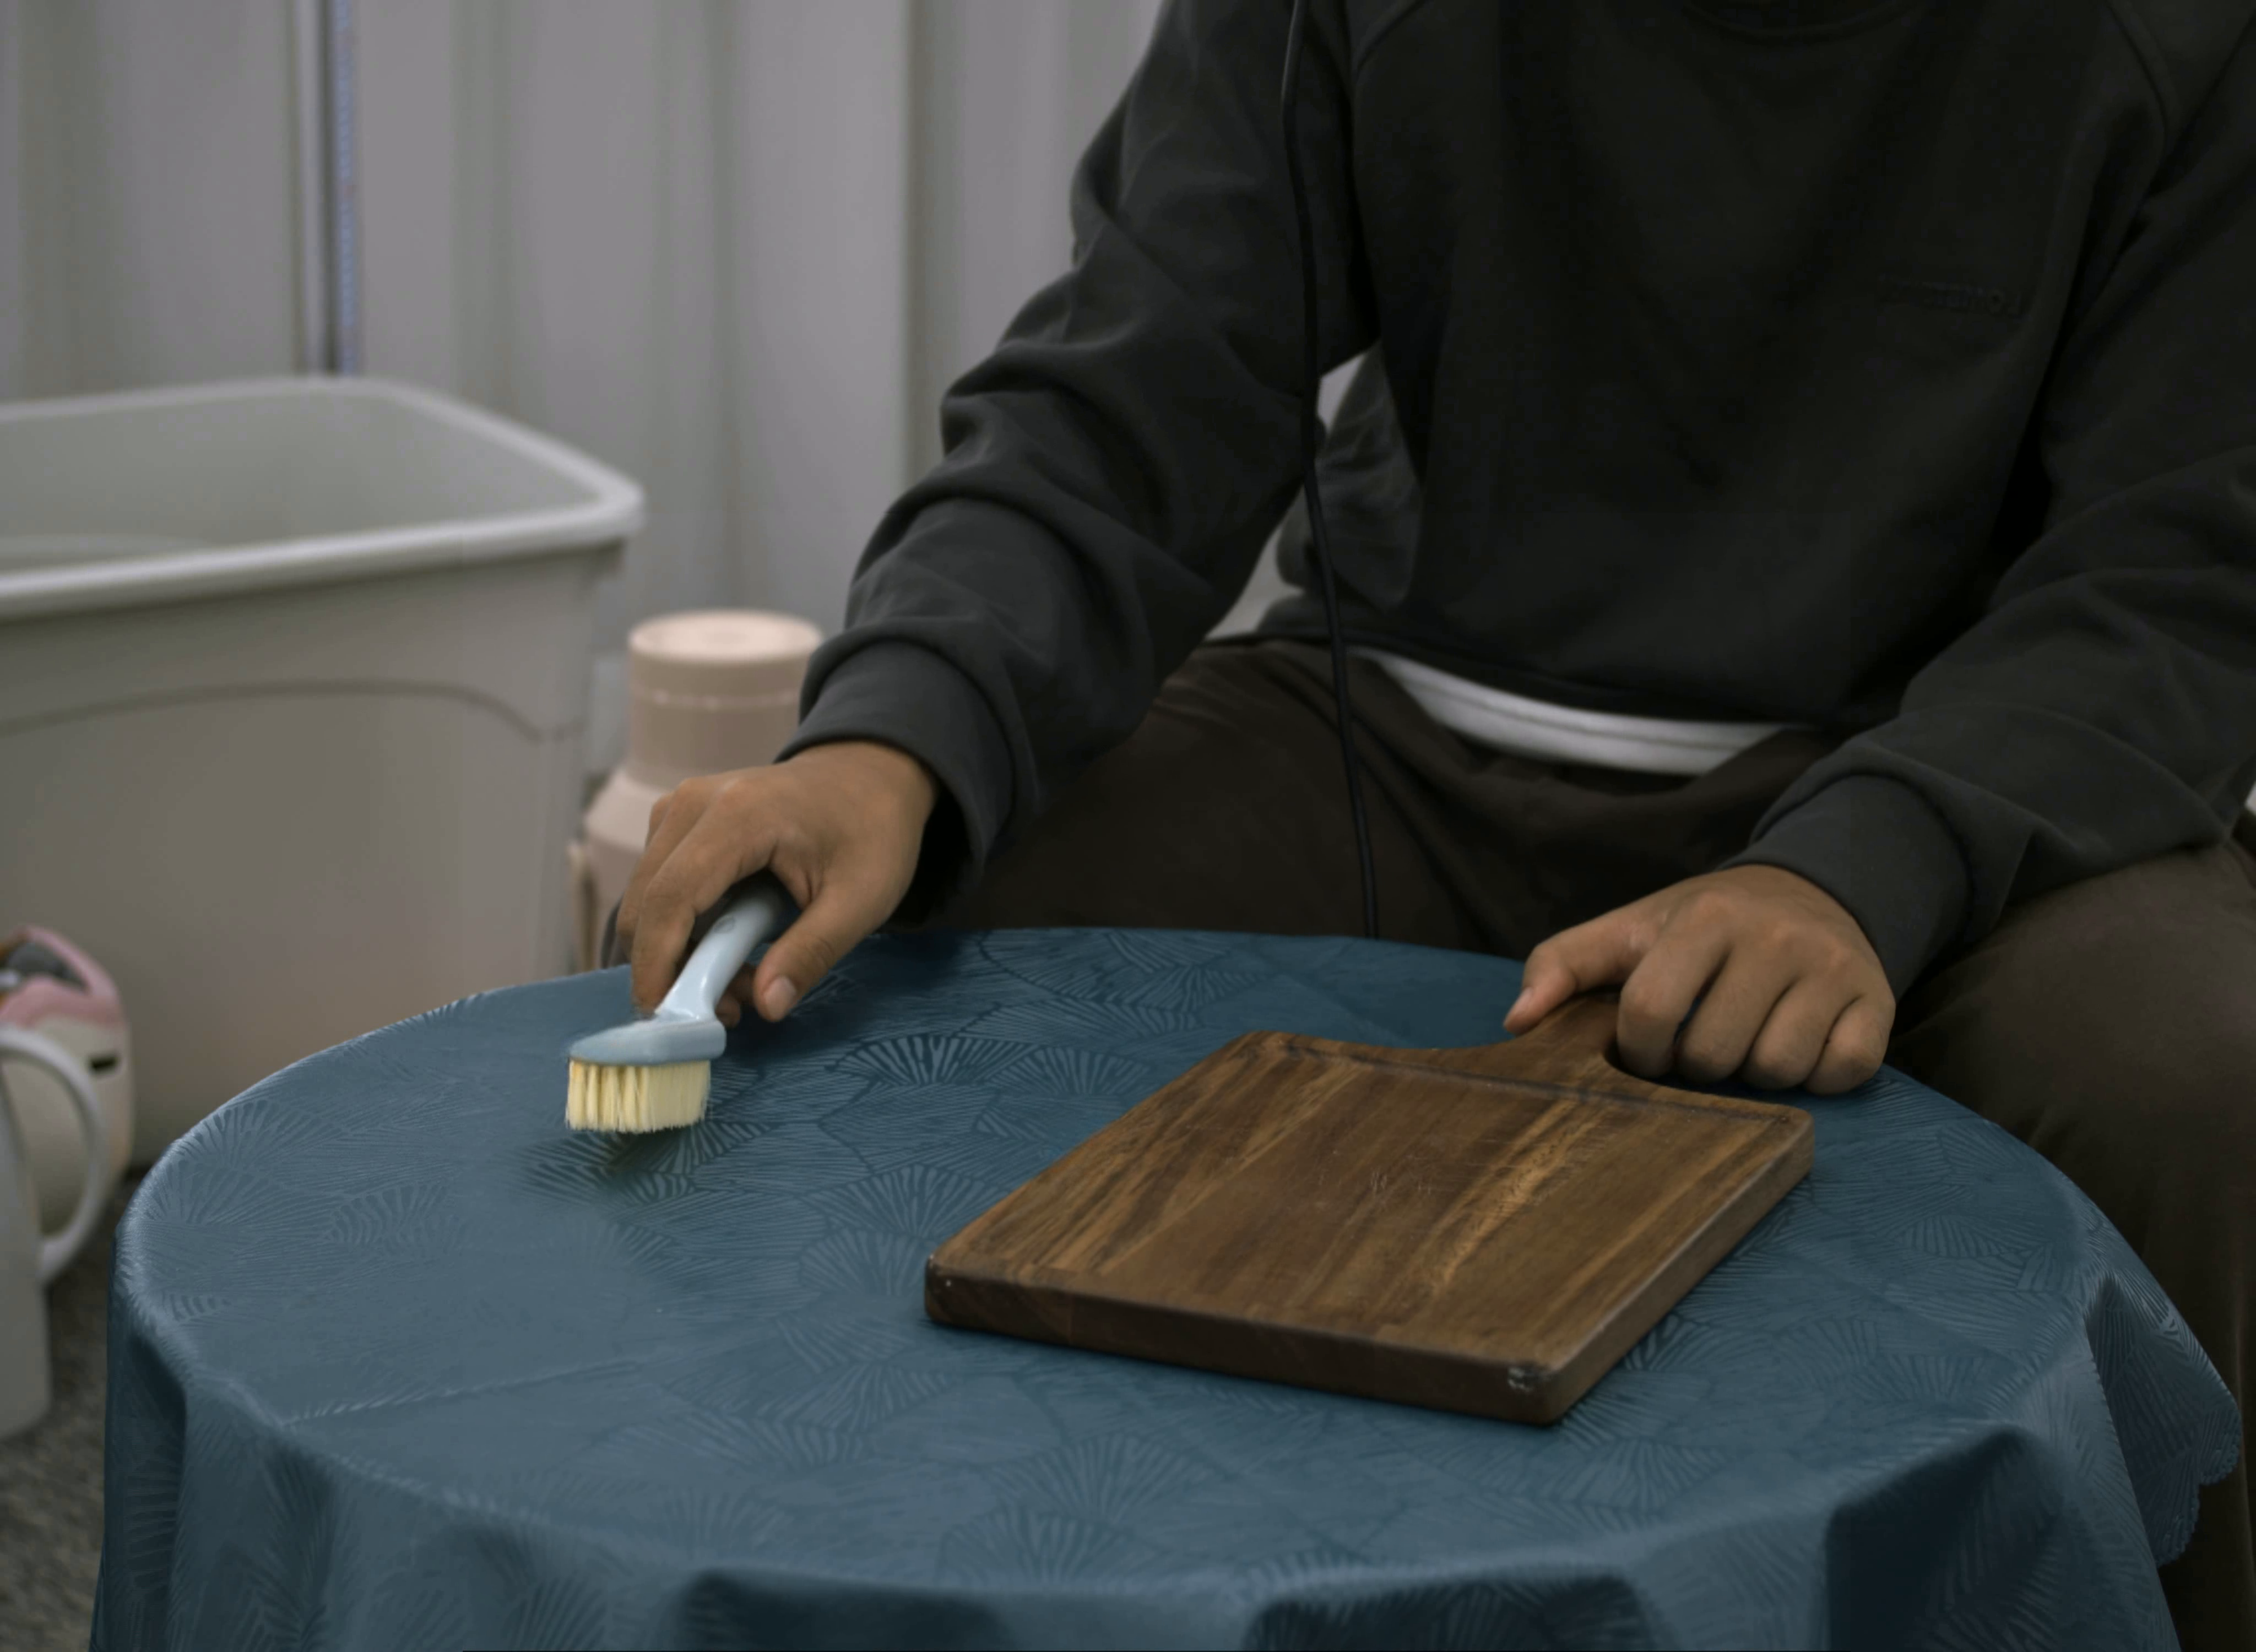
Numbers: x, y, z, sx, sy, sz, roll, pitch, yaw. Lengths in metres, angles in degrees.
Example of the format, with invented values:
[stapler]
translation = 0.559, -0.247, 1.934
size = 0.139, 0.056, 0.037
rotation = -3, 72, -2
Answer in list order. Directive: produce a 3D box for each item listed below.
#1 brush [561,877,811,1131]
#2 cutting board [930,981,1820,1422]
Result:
[brush]
translation = -0.141, 0.060, 1.726
size = 0.037, 0.050, 0.228
rotation = 4, 14, 9
[cutting board]
translation = 0.100, 0.103, 1.626
size = 0.199, 0.023, 0.353
rotation = 8, 17, 23
